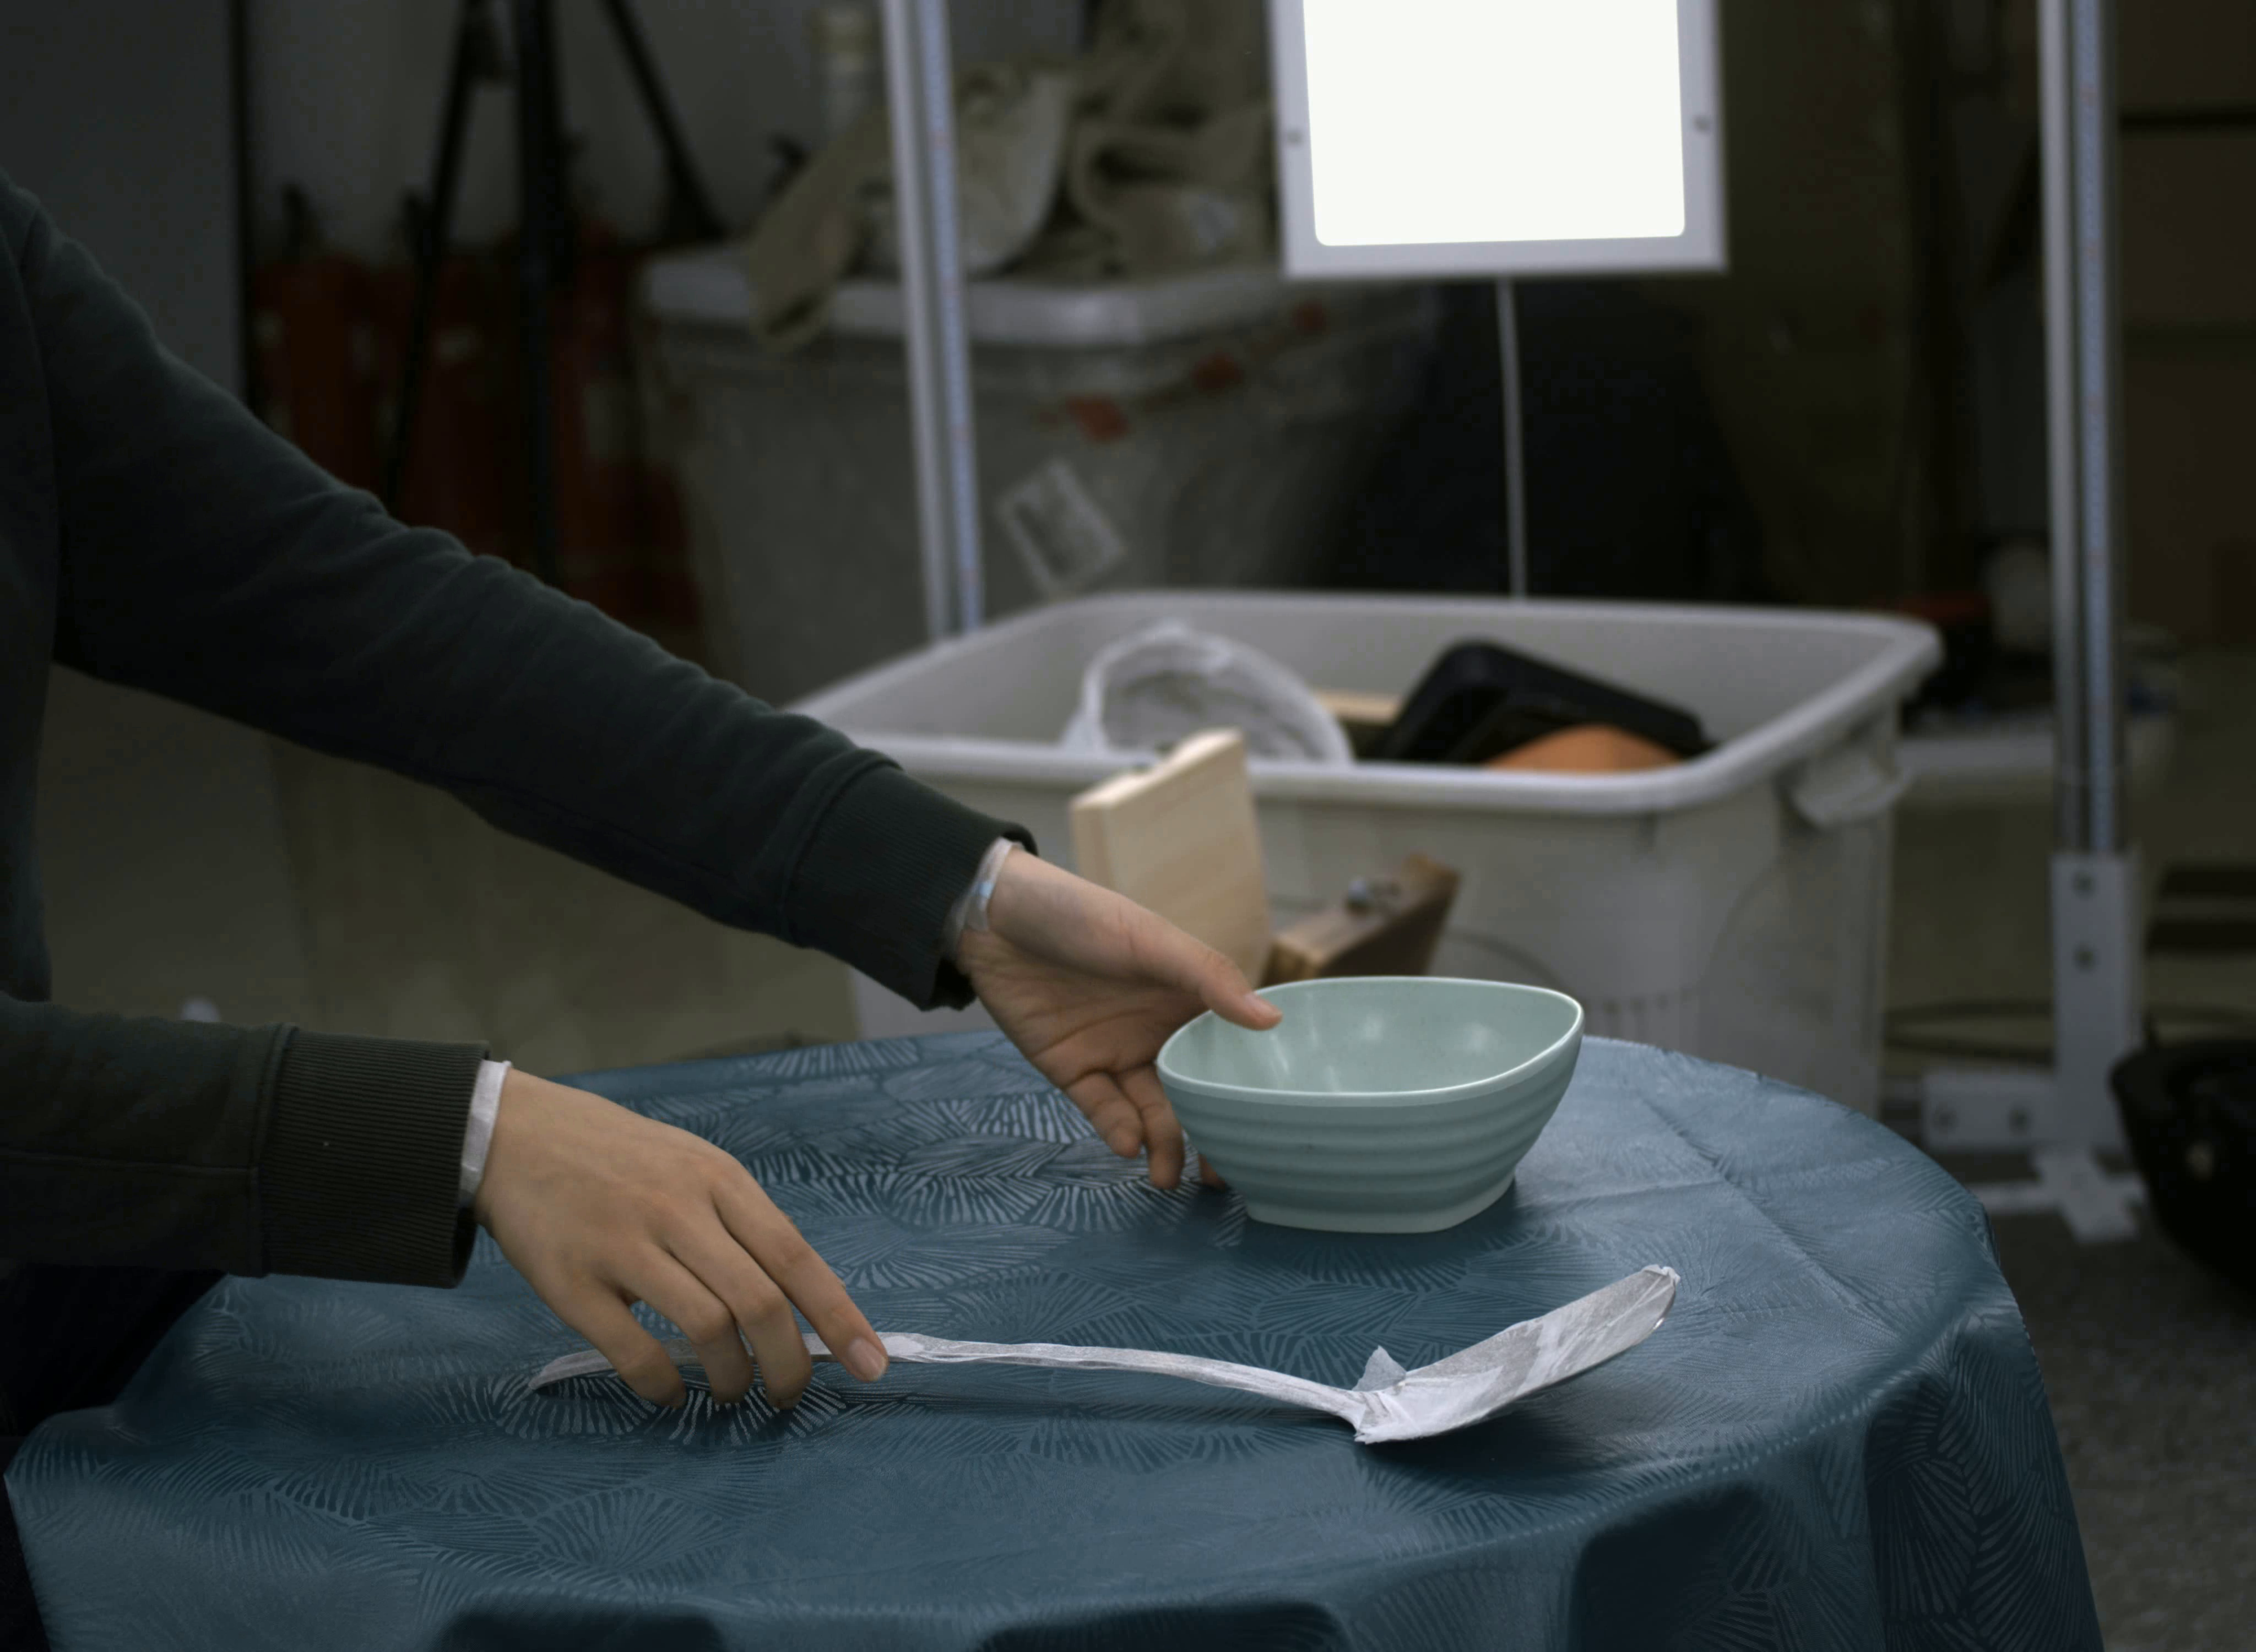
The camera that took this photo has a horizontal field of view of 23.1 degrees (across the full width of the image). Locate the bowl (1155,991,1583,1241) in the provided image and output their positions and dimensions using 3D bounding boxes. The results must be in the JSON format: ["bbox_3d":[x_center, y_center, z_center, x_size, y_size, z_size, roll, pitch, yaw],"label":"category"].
[{"bbox_3d":[0.084,0.101,1.863,0.151,0.059,0.151,-5,12,0],"label":"bowl"}]

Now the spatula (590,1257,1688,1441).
[{"bbox_3d":[-0.007,0.158,1.689,0.370,0.045,0.097,1,17,22],"label":"spatula"}]
